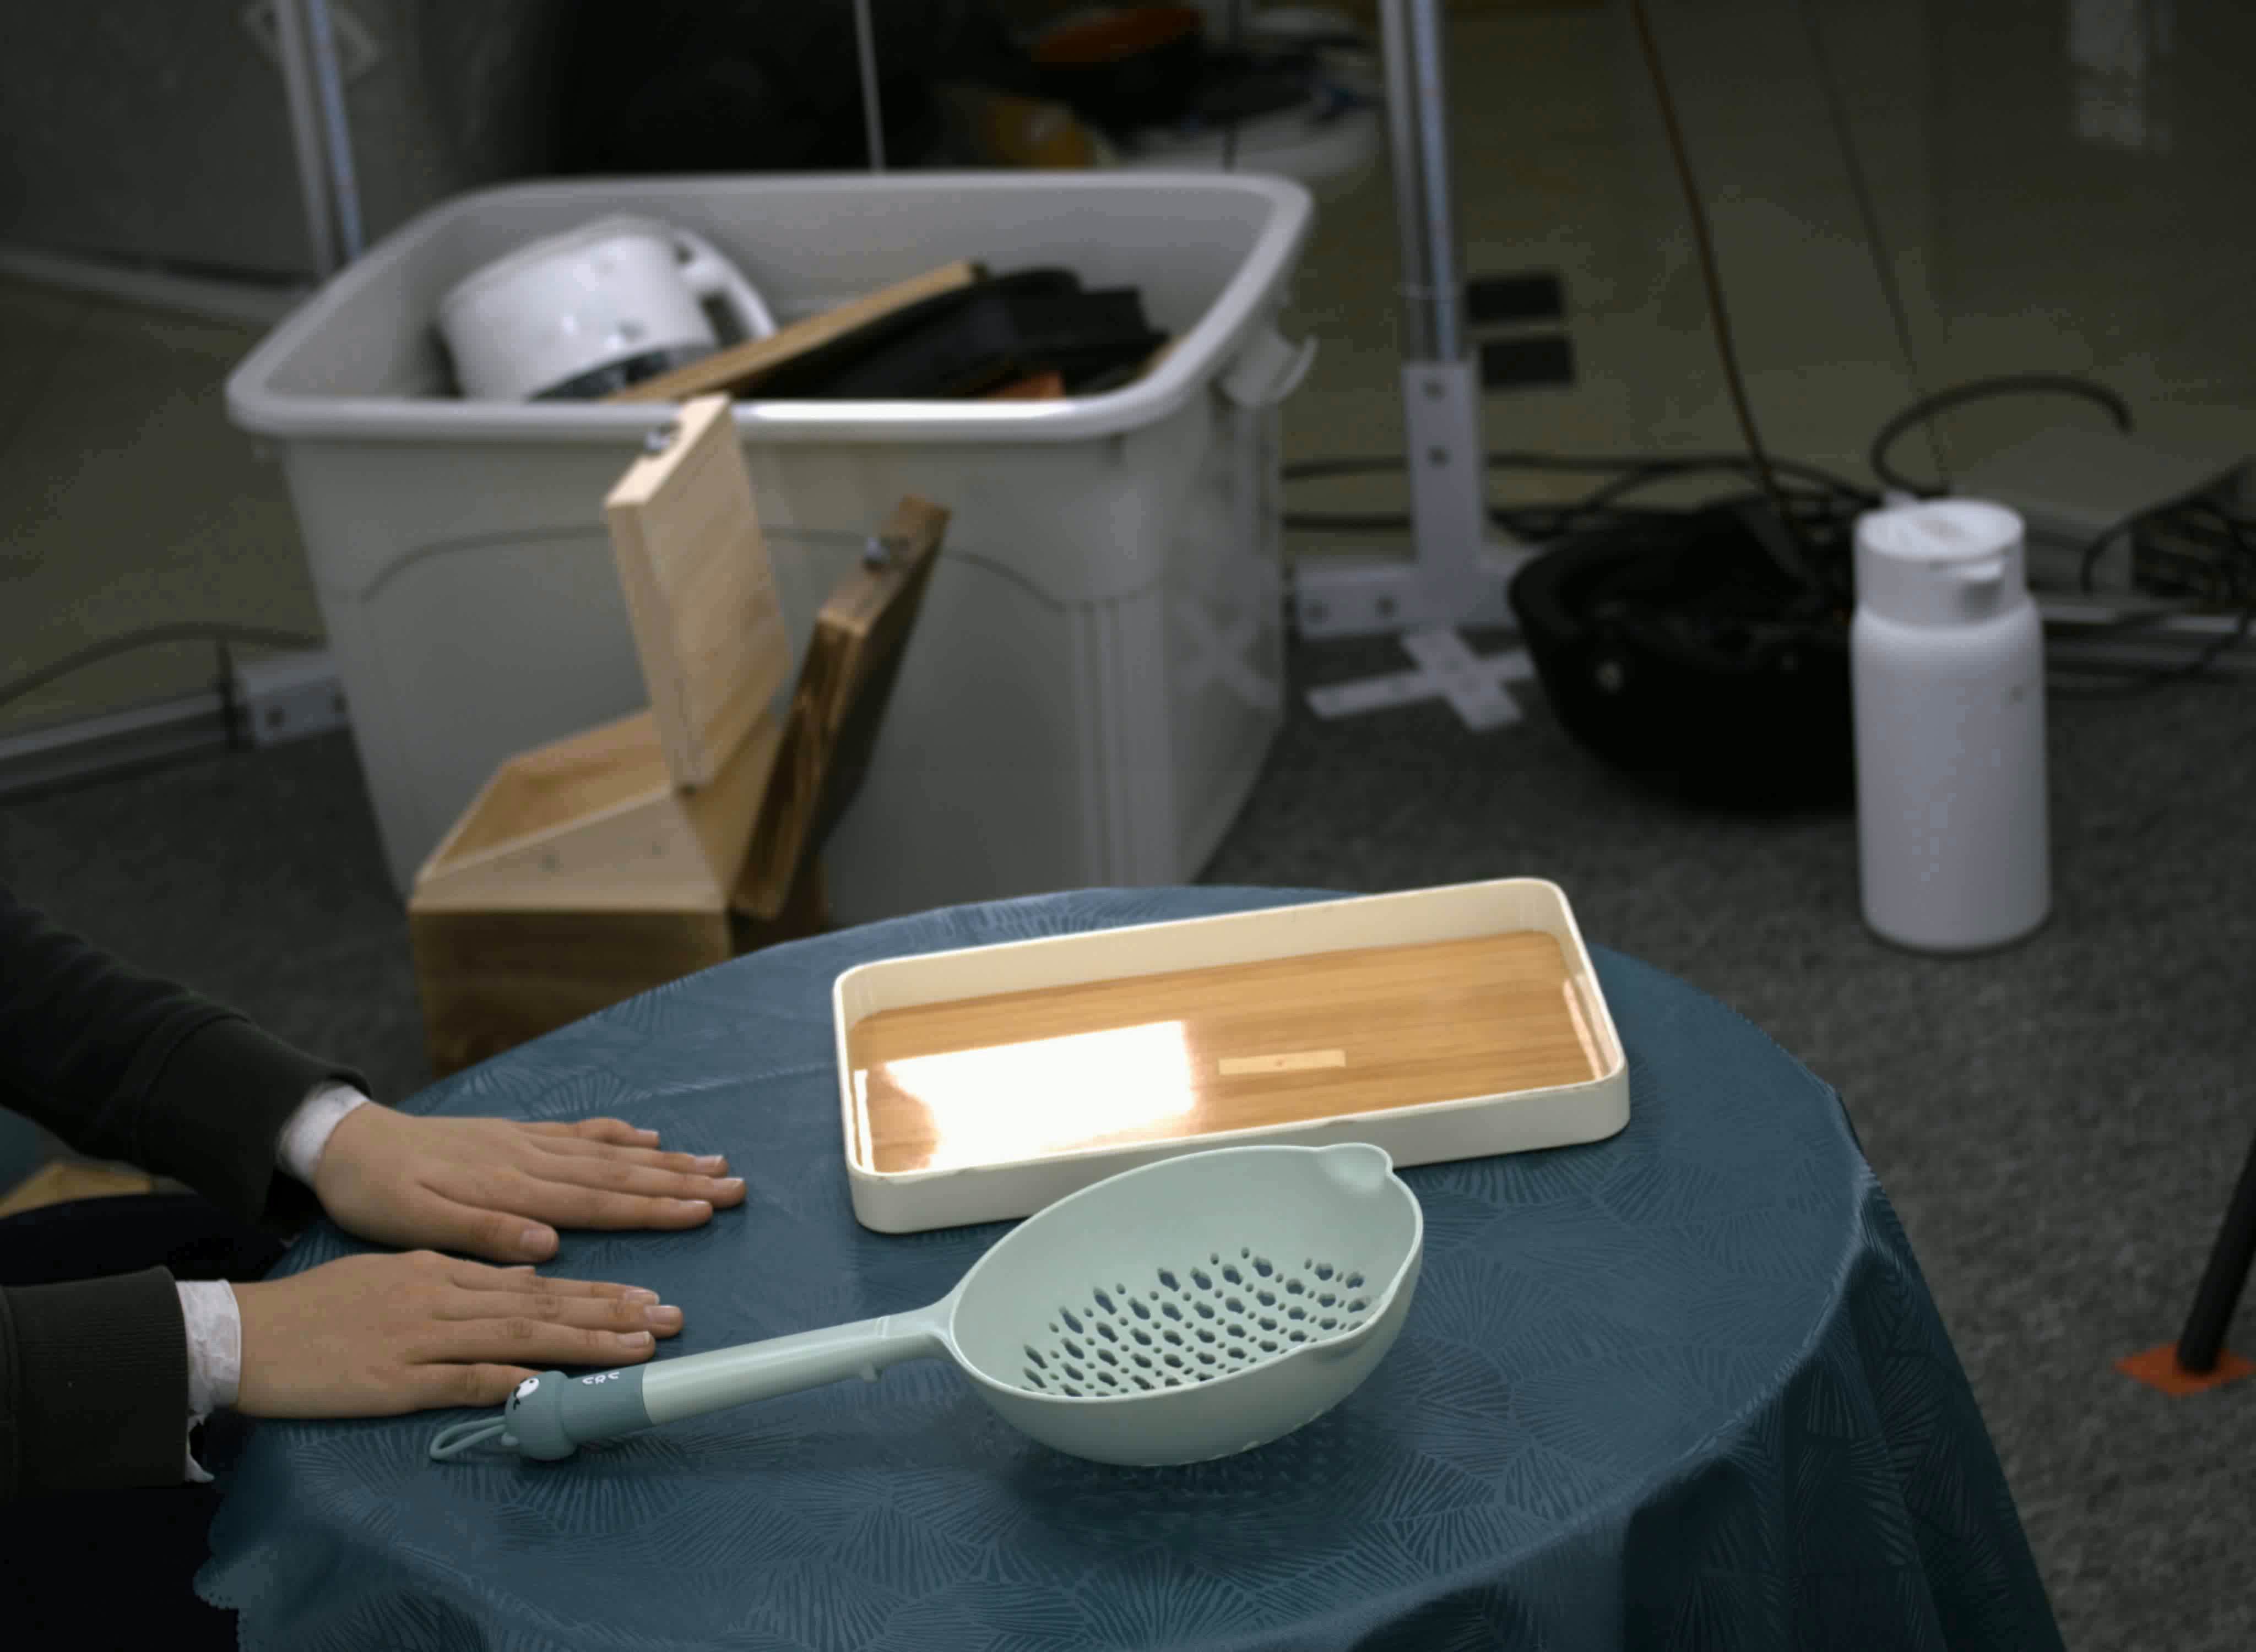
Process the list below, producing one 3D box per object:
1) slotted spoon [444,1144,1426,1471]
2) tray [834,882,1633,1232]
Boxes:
[{"bbox_3d":[-0.071,0.184,1.996,0.358,0.076,0.167,-4,25,6],"label":"slotted spoon"},{"bbox_3d":[0.037,0.089,2.221,0.300,0.028,0.189,-7,25,-2],"label":"tray"}]
